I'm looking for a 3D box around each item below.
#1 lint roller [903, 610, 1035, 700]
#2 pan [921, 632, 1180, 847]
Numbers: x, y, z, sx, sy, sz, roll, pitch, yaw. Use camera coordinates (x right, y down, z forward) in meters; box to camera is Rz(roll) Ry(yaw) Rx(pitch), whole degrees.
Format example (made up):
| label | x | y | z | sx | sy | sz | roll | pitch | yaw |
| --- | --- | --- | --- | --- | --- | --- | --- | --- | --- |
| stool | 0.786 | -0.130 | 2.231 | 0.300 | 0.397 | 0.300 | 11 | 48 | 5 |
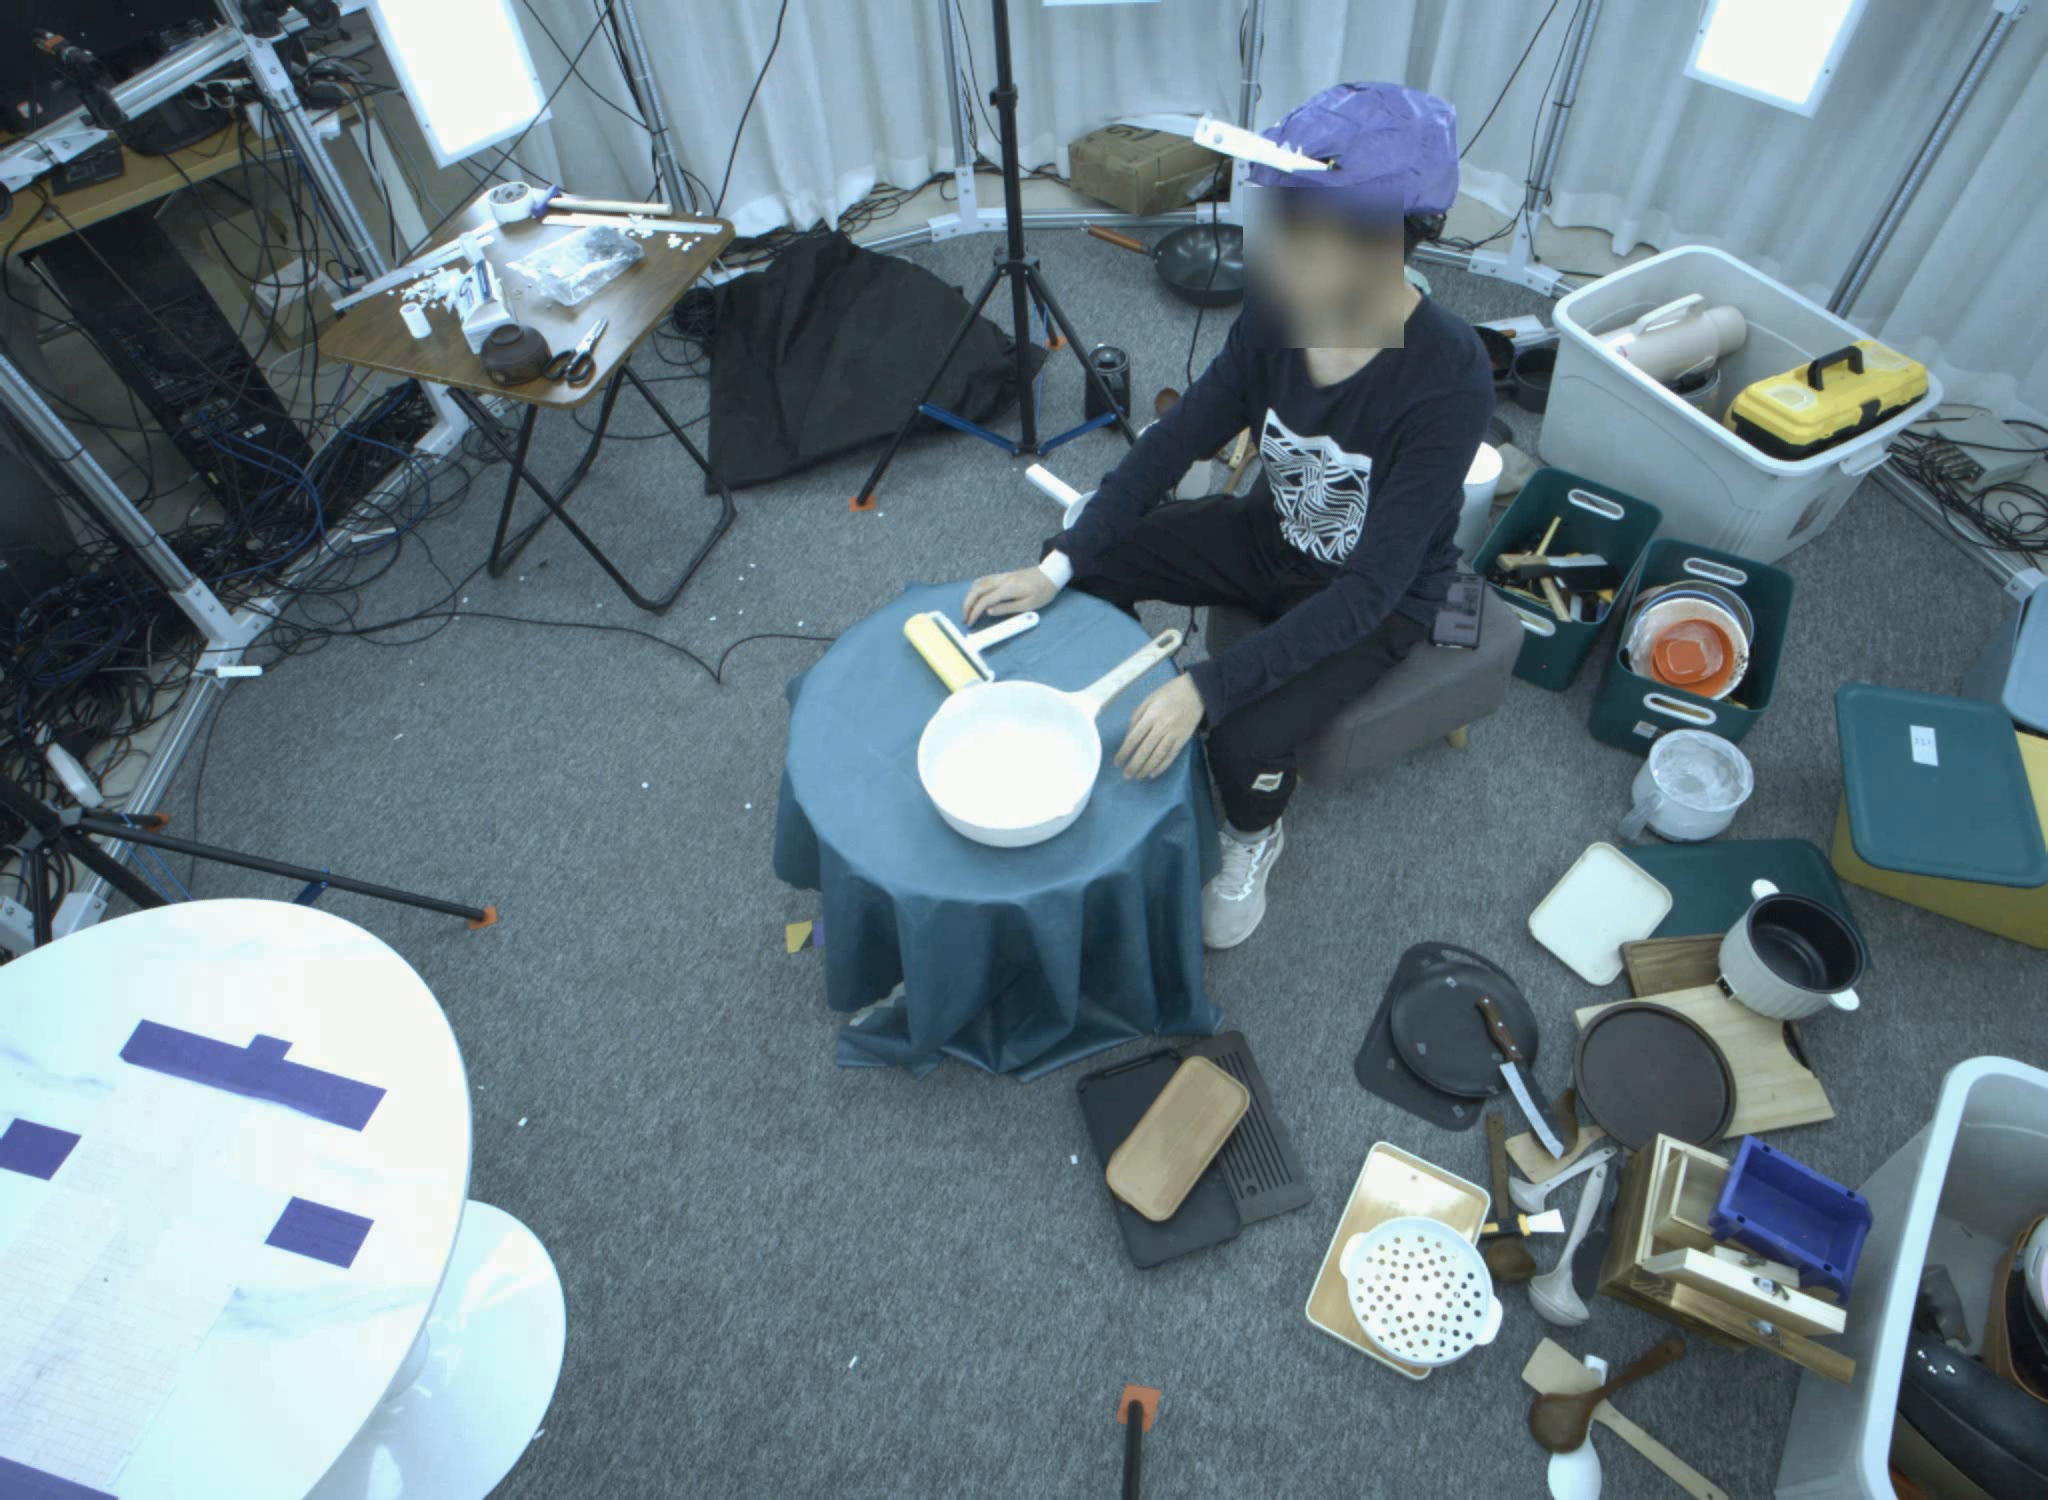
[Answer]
| label | x | y | z | sx | sy | sz | roll | pitch | yaw |
| --- | --- | --- | --- | --- | --- | --- | --- | --- | --- |
| lint roller | -0.066 | -0.178 | 1.896 | 0.193 | 0.052 | 0.171 | -29 | 59 | -19 |
| pan | 0.057 | -0.024 | 1.751 | 0.438 | 0.103 | 0.258 | -33 | 57 | -21 |
